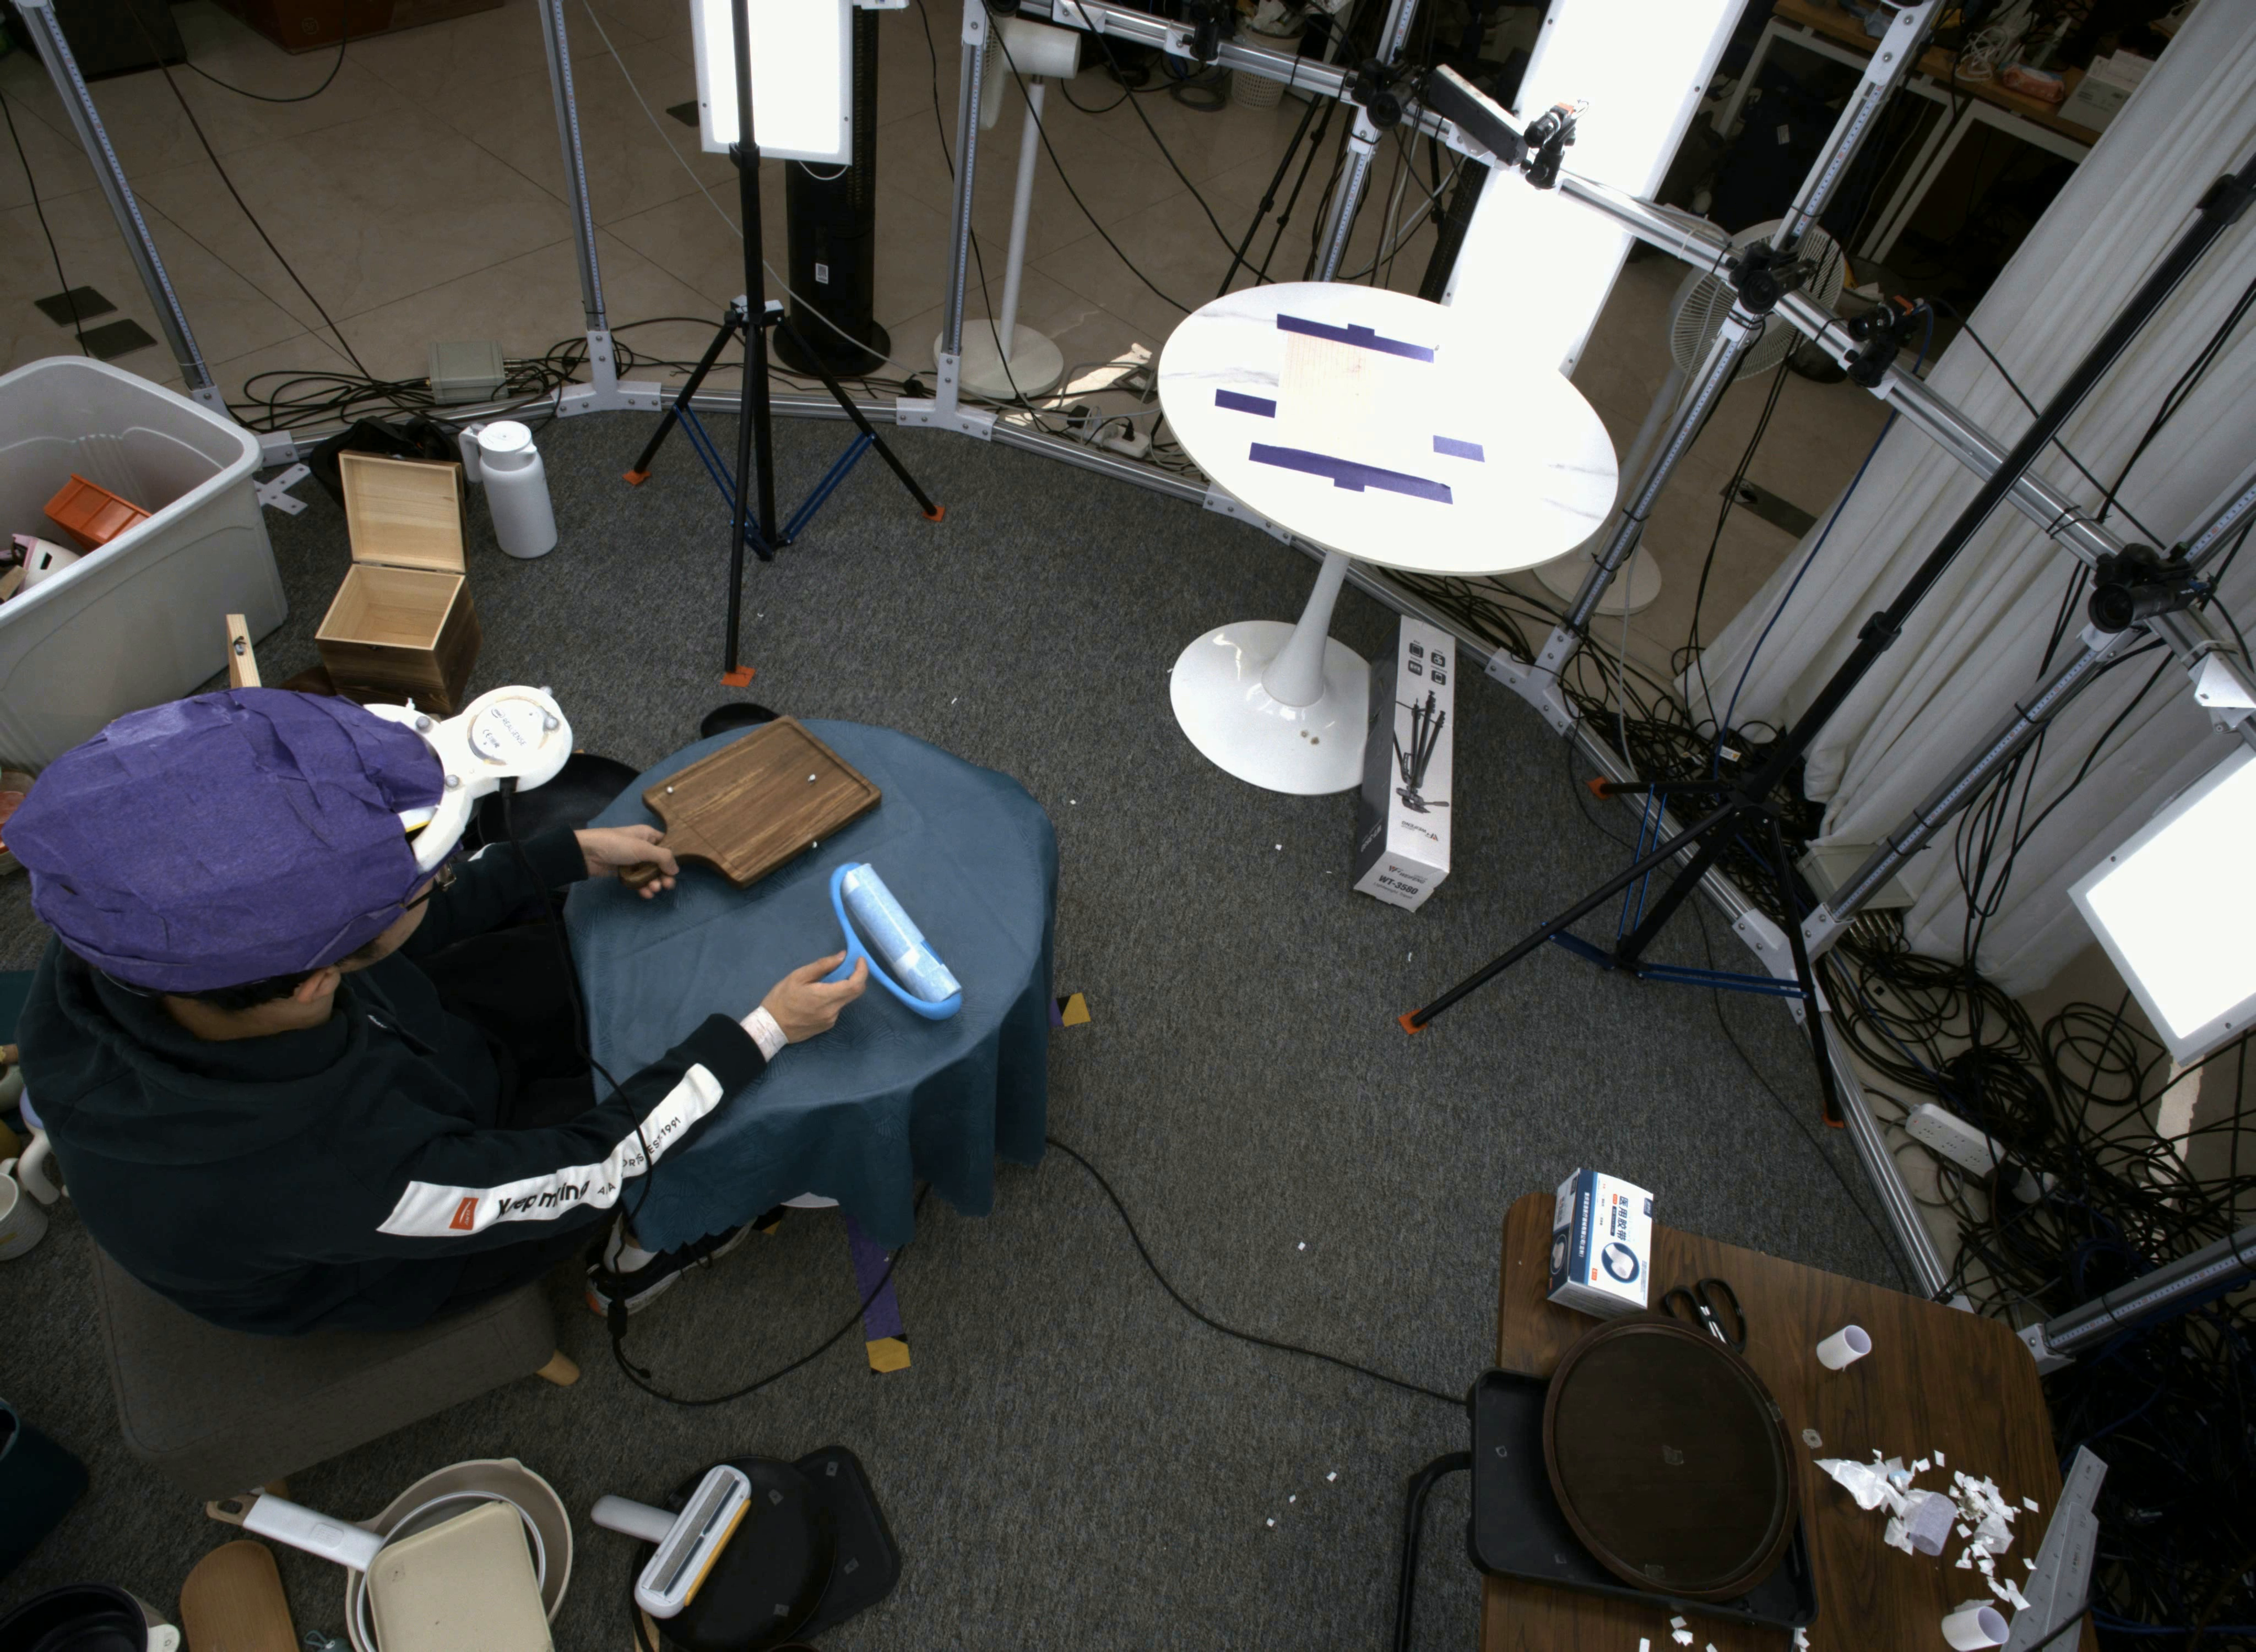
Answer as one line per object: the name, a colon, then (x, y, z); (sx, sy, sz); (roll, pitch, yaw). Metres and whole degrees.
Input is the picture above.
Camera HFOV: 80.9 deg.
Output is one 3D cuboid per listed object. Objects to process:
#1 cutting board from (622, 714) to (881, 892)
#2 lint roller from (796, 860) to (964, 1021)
cutting board: (-0.512, -0.016, 1.681); (0.197, 0.023, 0.353); (39, 48, 15)
lint roller: (-0.322, 0.168, 1.566); (0.180, 0.068, 0.229); (-39, 88, -23)
